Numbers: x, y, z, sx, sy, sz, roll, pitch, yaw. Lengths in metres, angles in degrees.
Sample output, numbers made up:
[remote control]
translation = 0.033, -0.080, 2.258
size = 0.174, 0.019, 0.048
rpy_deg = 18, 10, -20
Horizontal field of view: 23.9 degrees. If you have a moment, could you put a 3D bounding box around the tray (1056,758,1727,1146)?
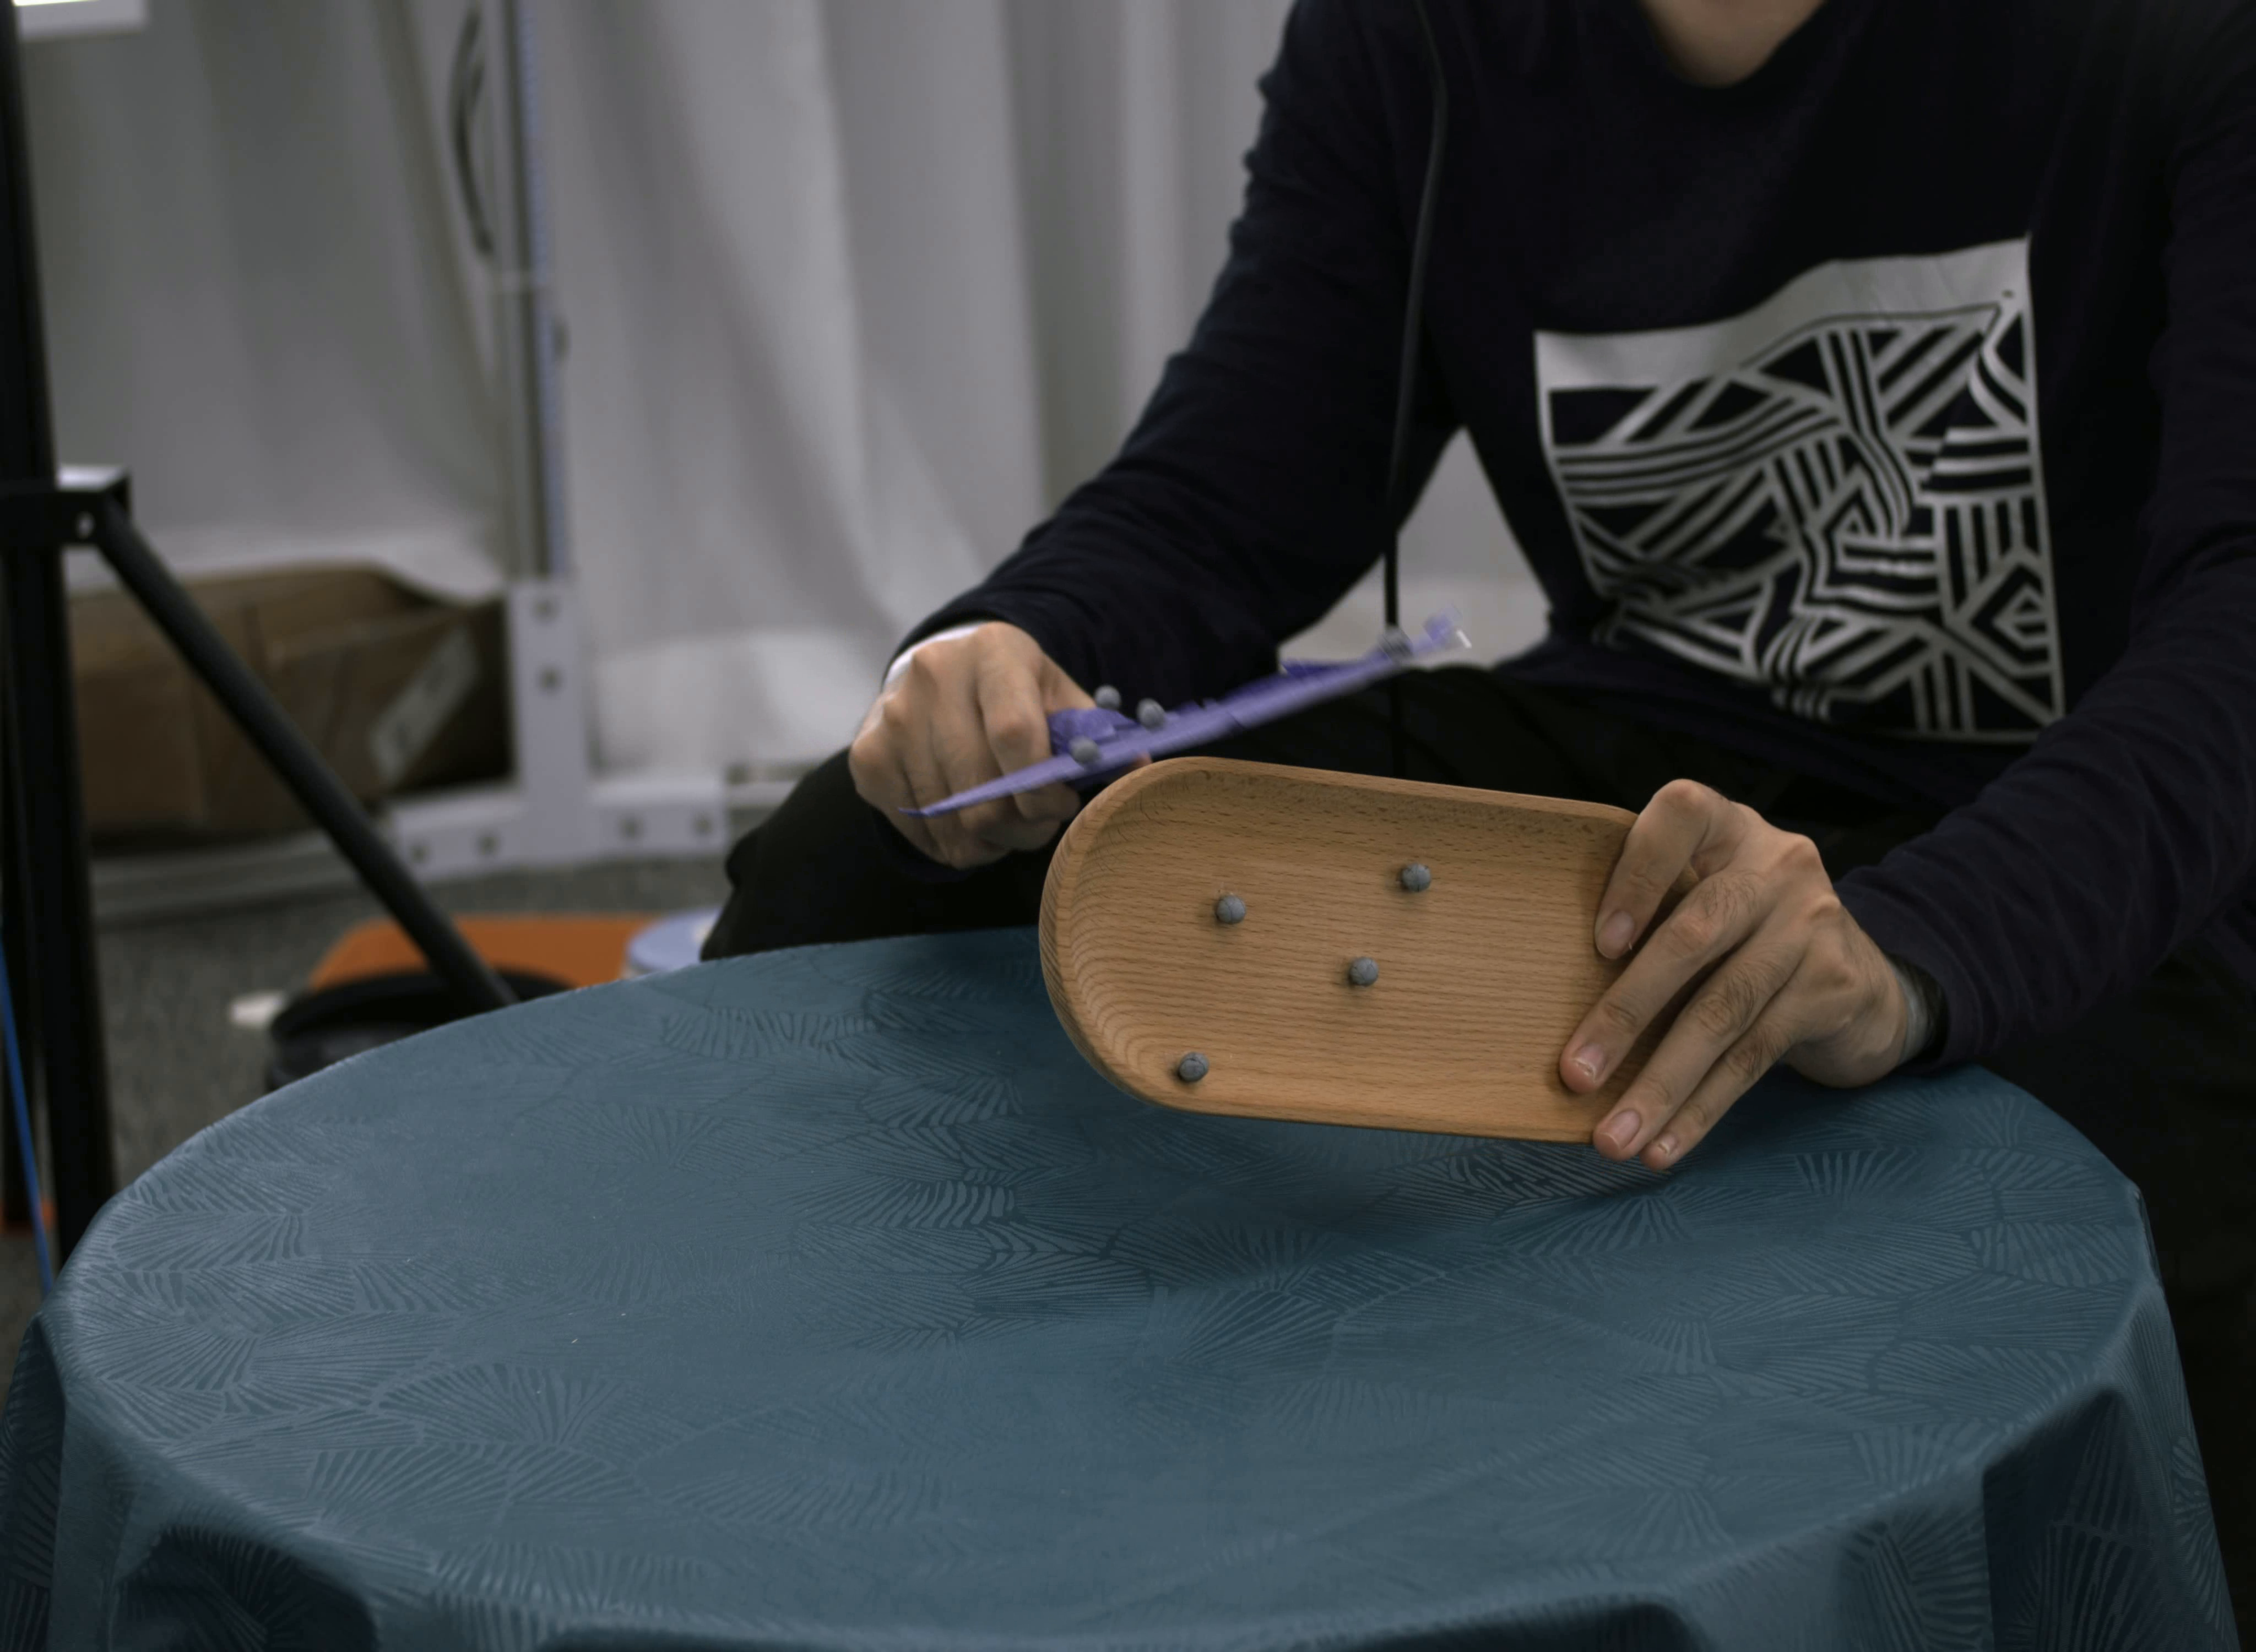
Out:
[tray]
translation = 0.078, 0.038, 1.515
size = 0.225, 0.102, 0.021
rpy_deg = 6, -7, -32

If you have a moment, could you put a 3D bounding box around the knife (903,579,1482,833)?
[knife]
translation = -0.013, -0.030, 1.631
size = 0.102, 0.032, 0.320
rpy_deg = -20, 0, -29
